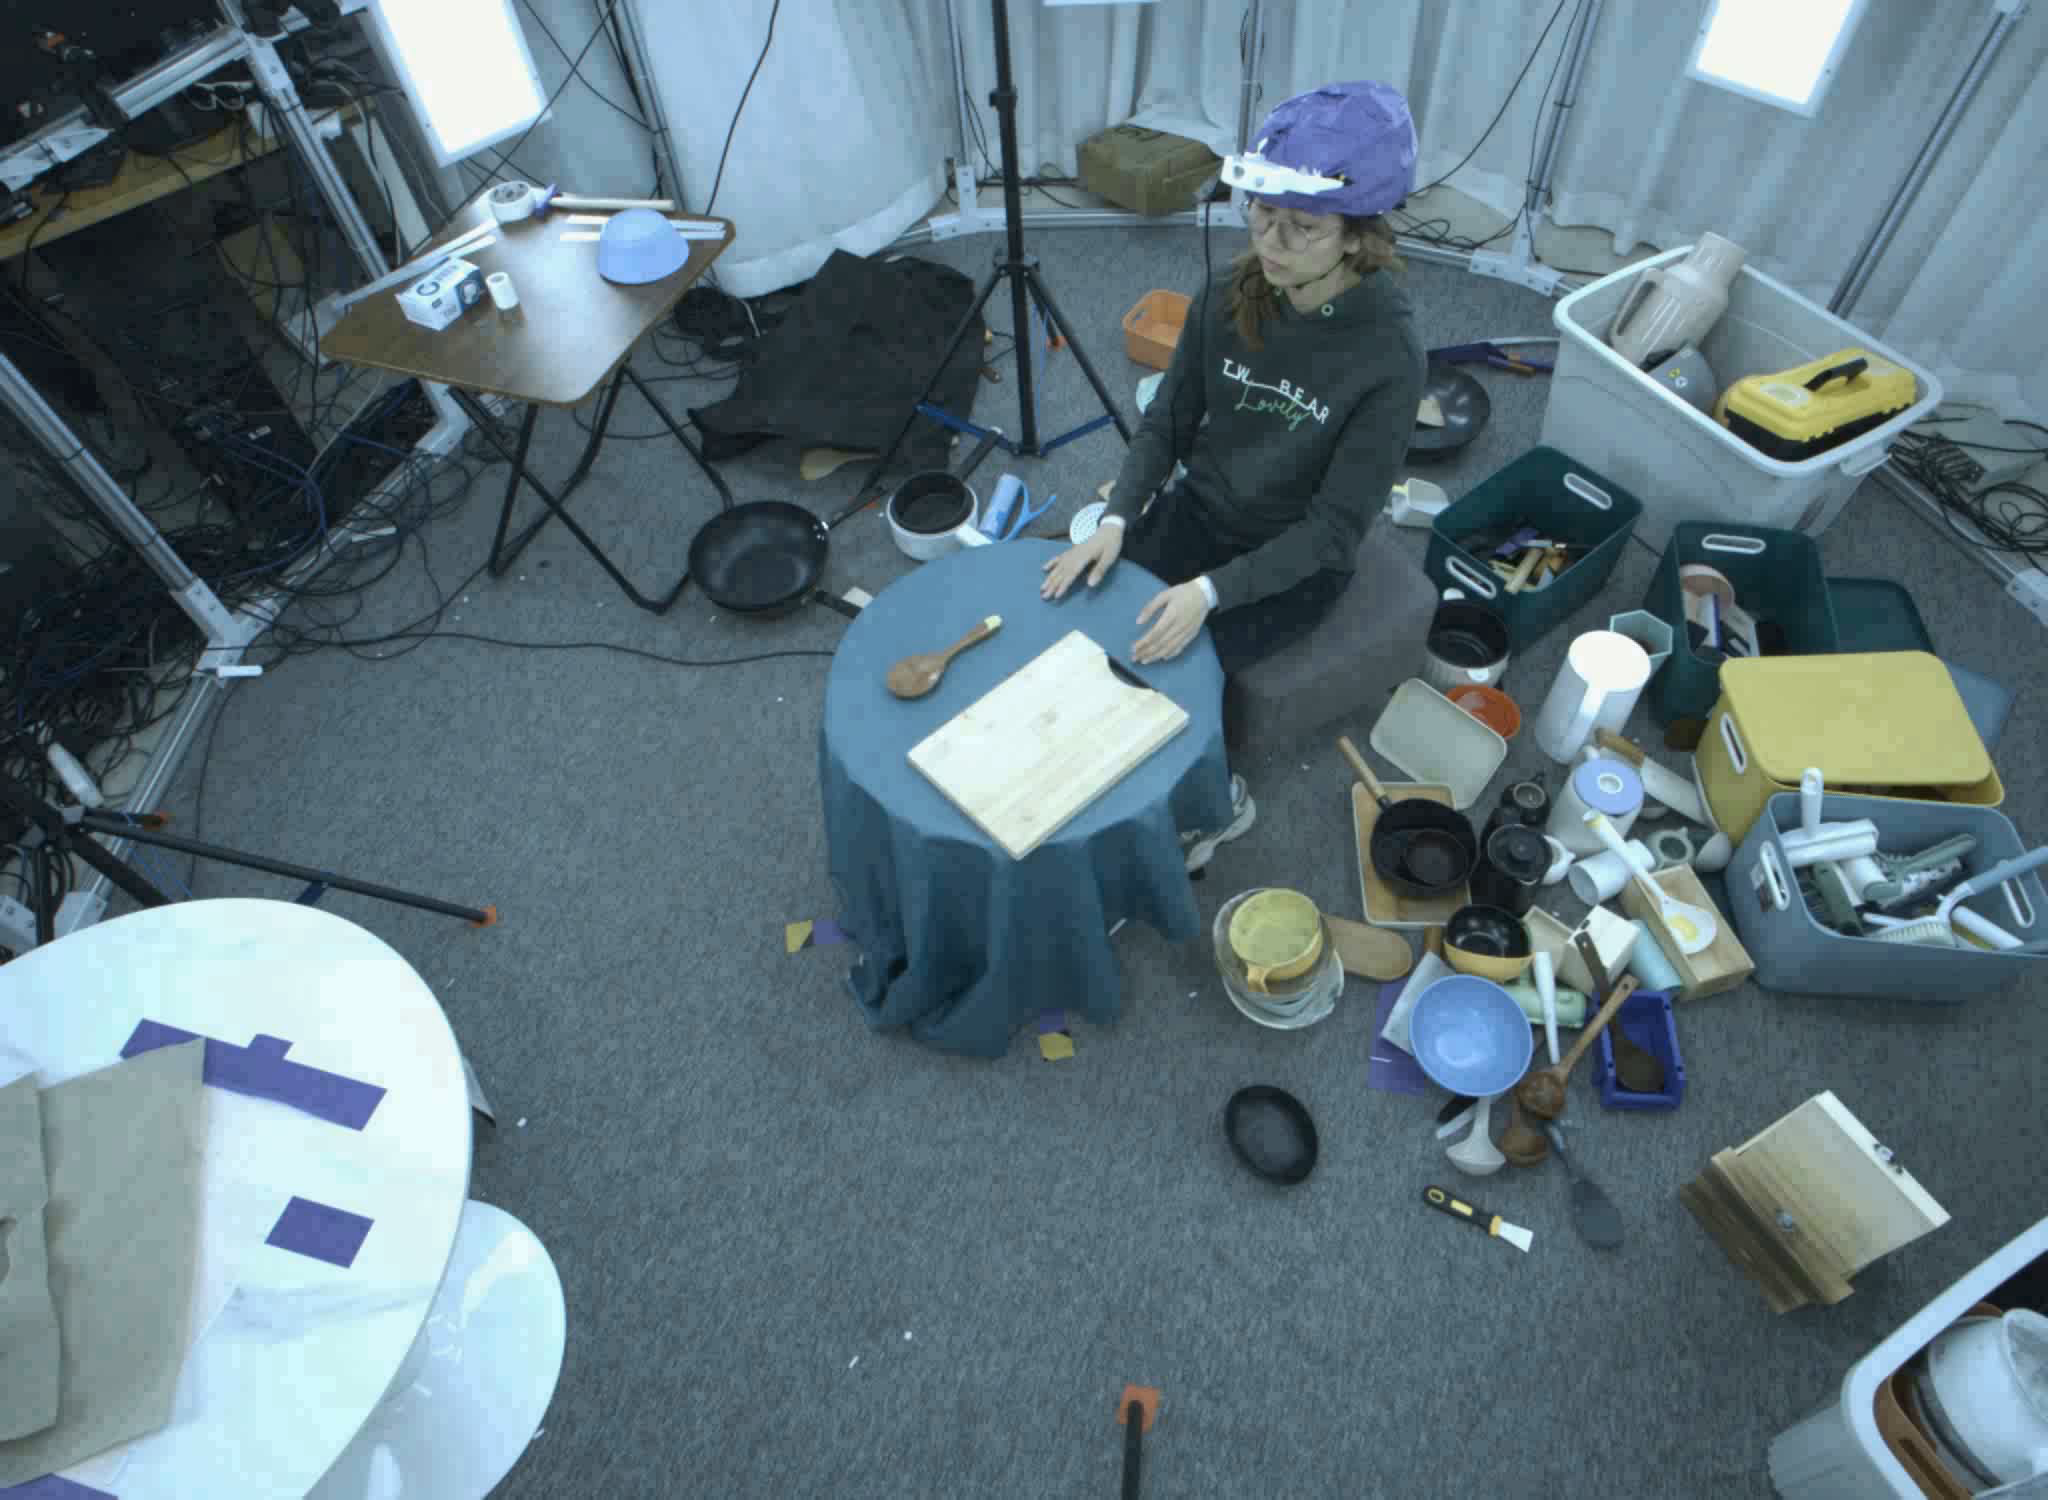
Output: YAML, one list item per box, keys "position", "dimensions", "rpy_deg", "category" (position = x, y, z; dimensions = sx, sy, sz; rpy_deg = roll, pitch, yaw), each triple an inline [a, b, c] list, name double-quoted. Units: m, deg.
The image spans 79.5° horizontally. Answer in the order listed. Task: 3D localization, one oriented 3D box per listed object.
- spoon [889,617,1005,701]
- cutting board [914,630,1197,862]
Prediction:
- position: [-0.115, -0.142, 1.890]
  dimensions: [0.217, 0.017, 0.074]
  rpy_deg: [-37, 60, -21]
  category: "spoon"
- position: [0.045, -0.016, 1.798]
  dimensions: [0.351, 0.024, 0.246]
  rpy_deg: [-39, 63, -23]
  category: "cutting board"
